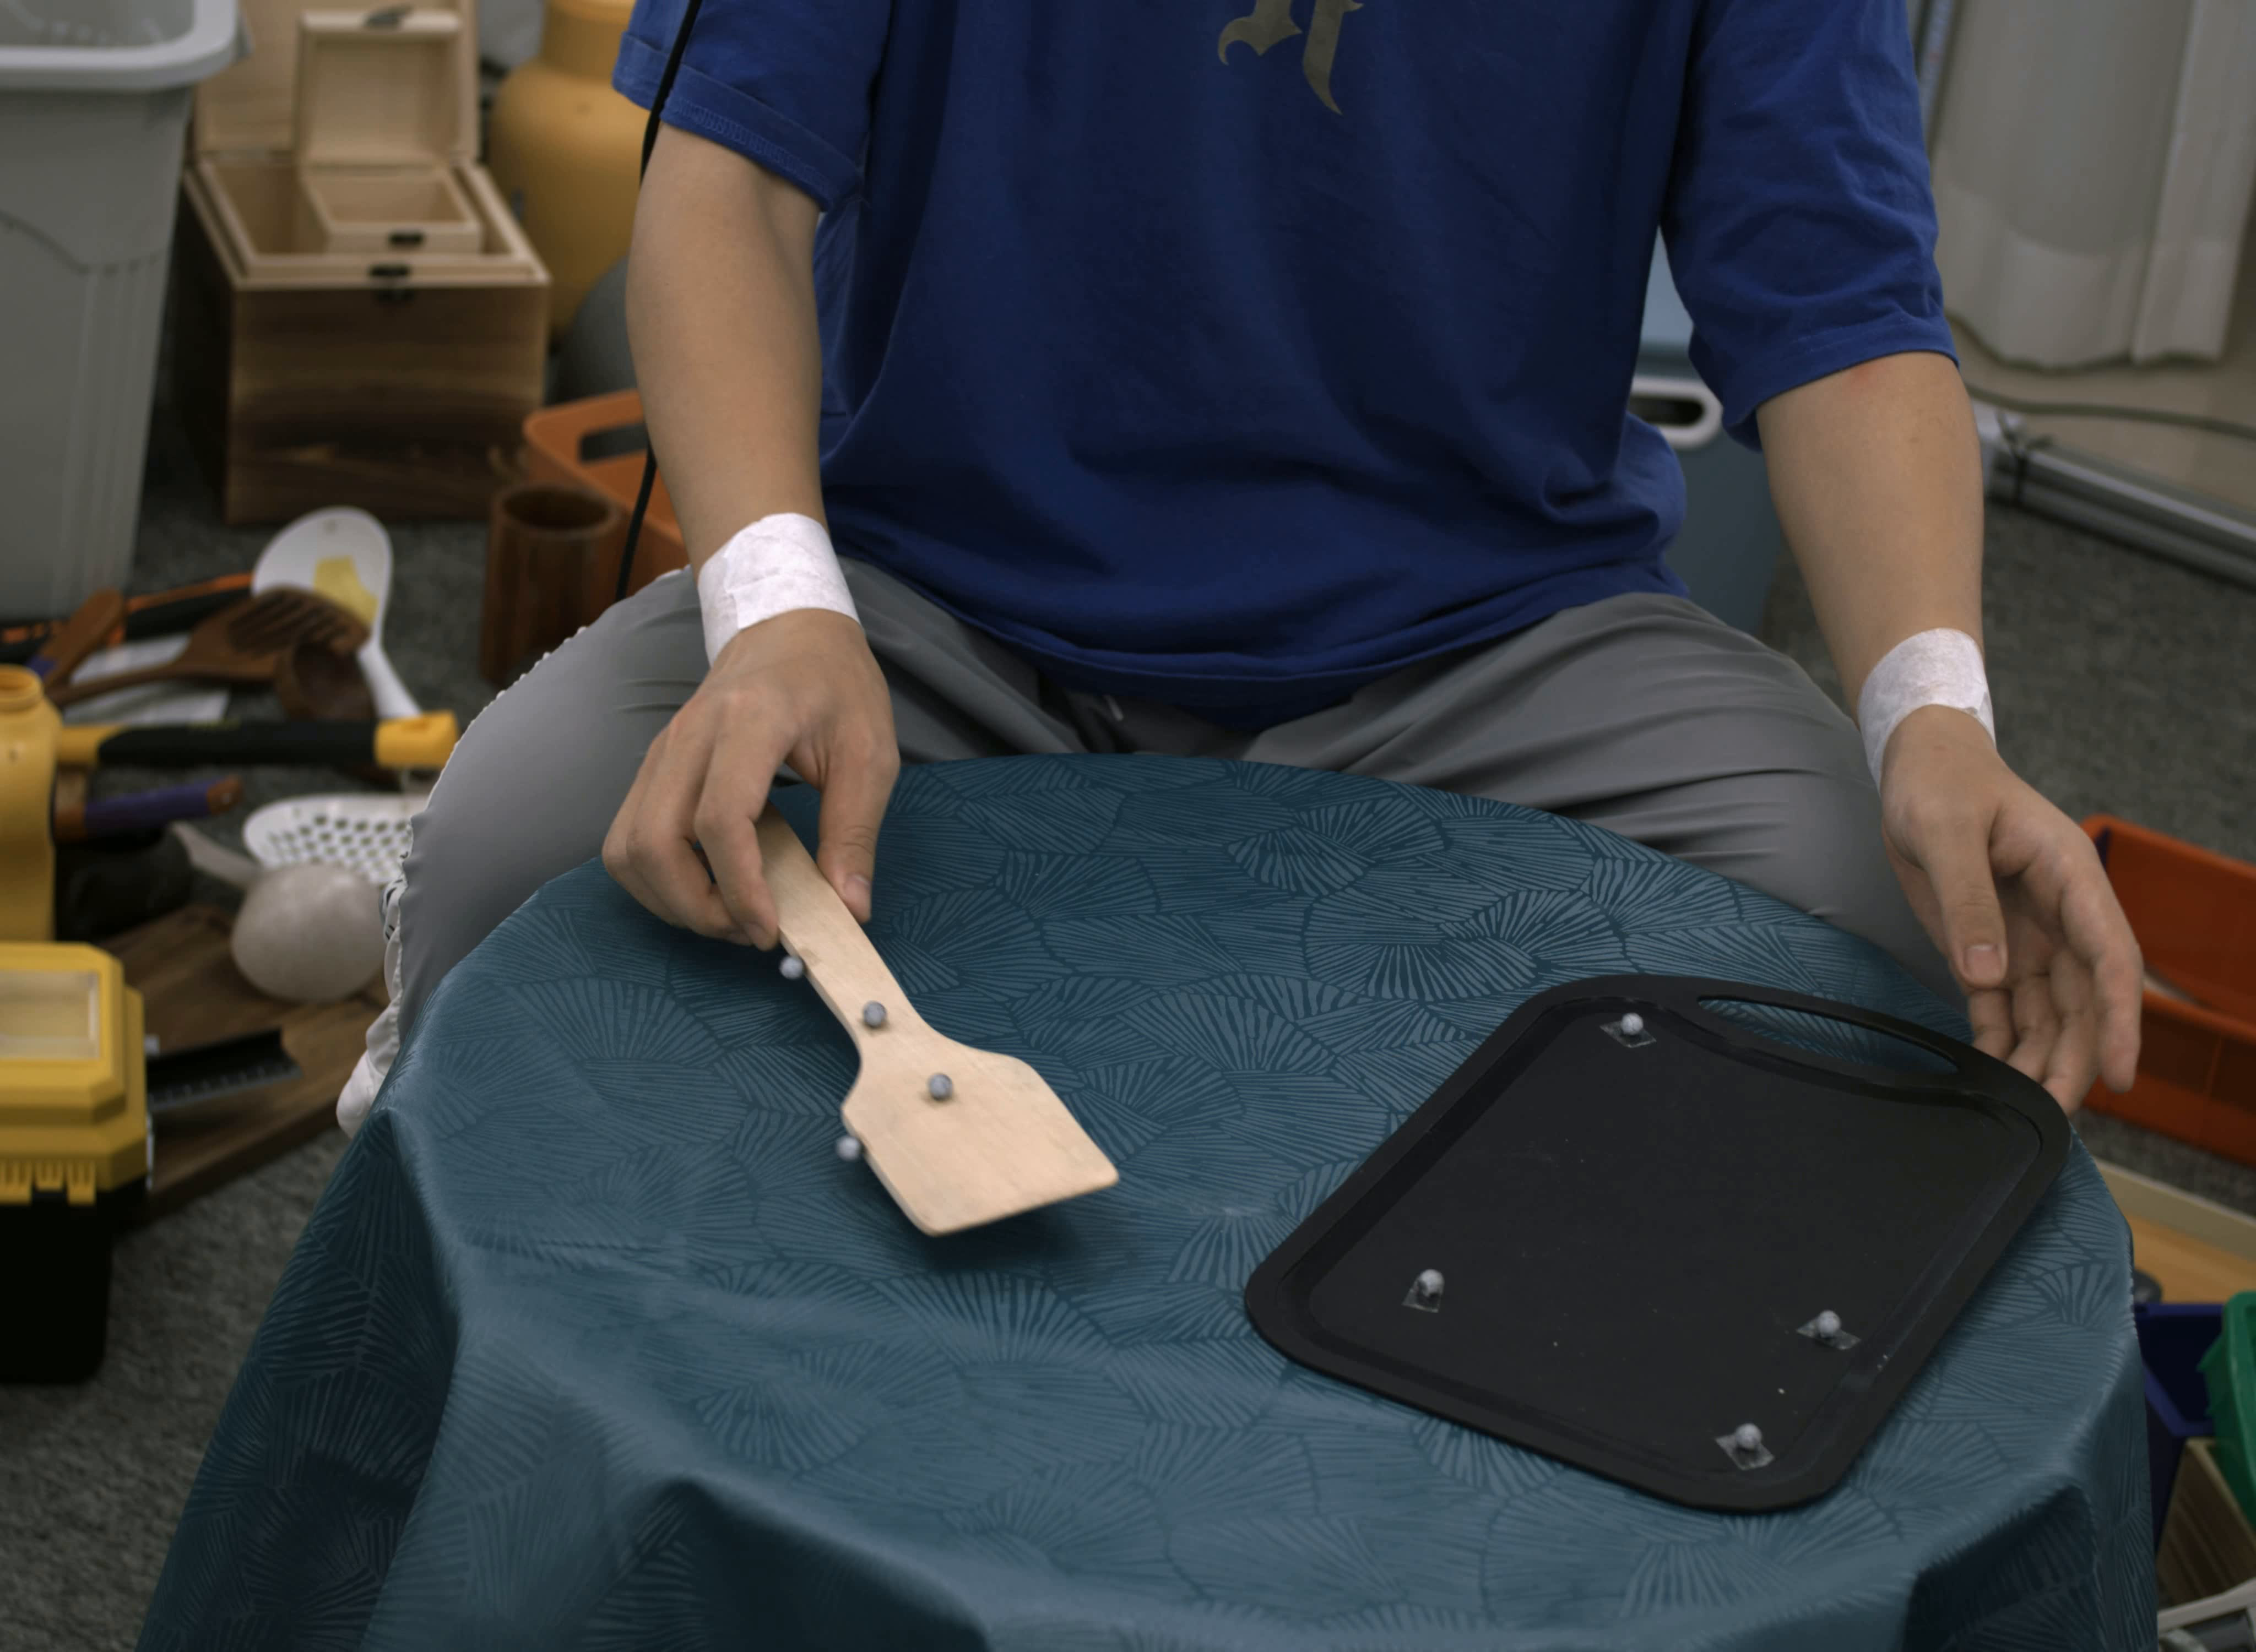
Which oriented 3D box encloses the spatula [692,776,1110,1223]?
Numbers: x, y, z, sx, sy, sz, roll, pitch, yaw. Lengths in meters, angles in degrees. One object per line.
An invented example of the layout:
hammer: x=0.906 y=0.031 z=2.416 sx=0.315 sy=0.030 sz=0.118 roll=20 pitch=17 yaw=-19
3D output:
spatula: x=-0.094 y=0.055 z=1.860 sx=0.072 sy=0.010 sz=0.296 roll=-14 pitch=34 yaw=-19

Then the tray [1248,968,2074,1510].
tray: x=0.189 y=0.129 z=1.818 sx=0.212 sy=0.010 sz=0.325 roll=18 pitch=31 yaw=23
